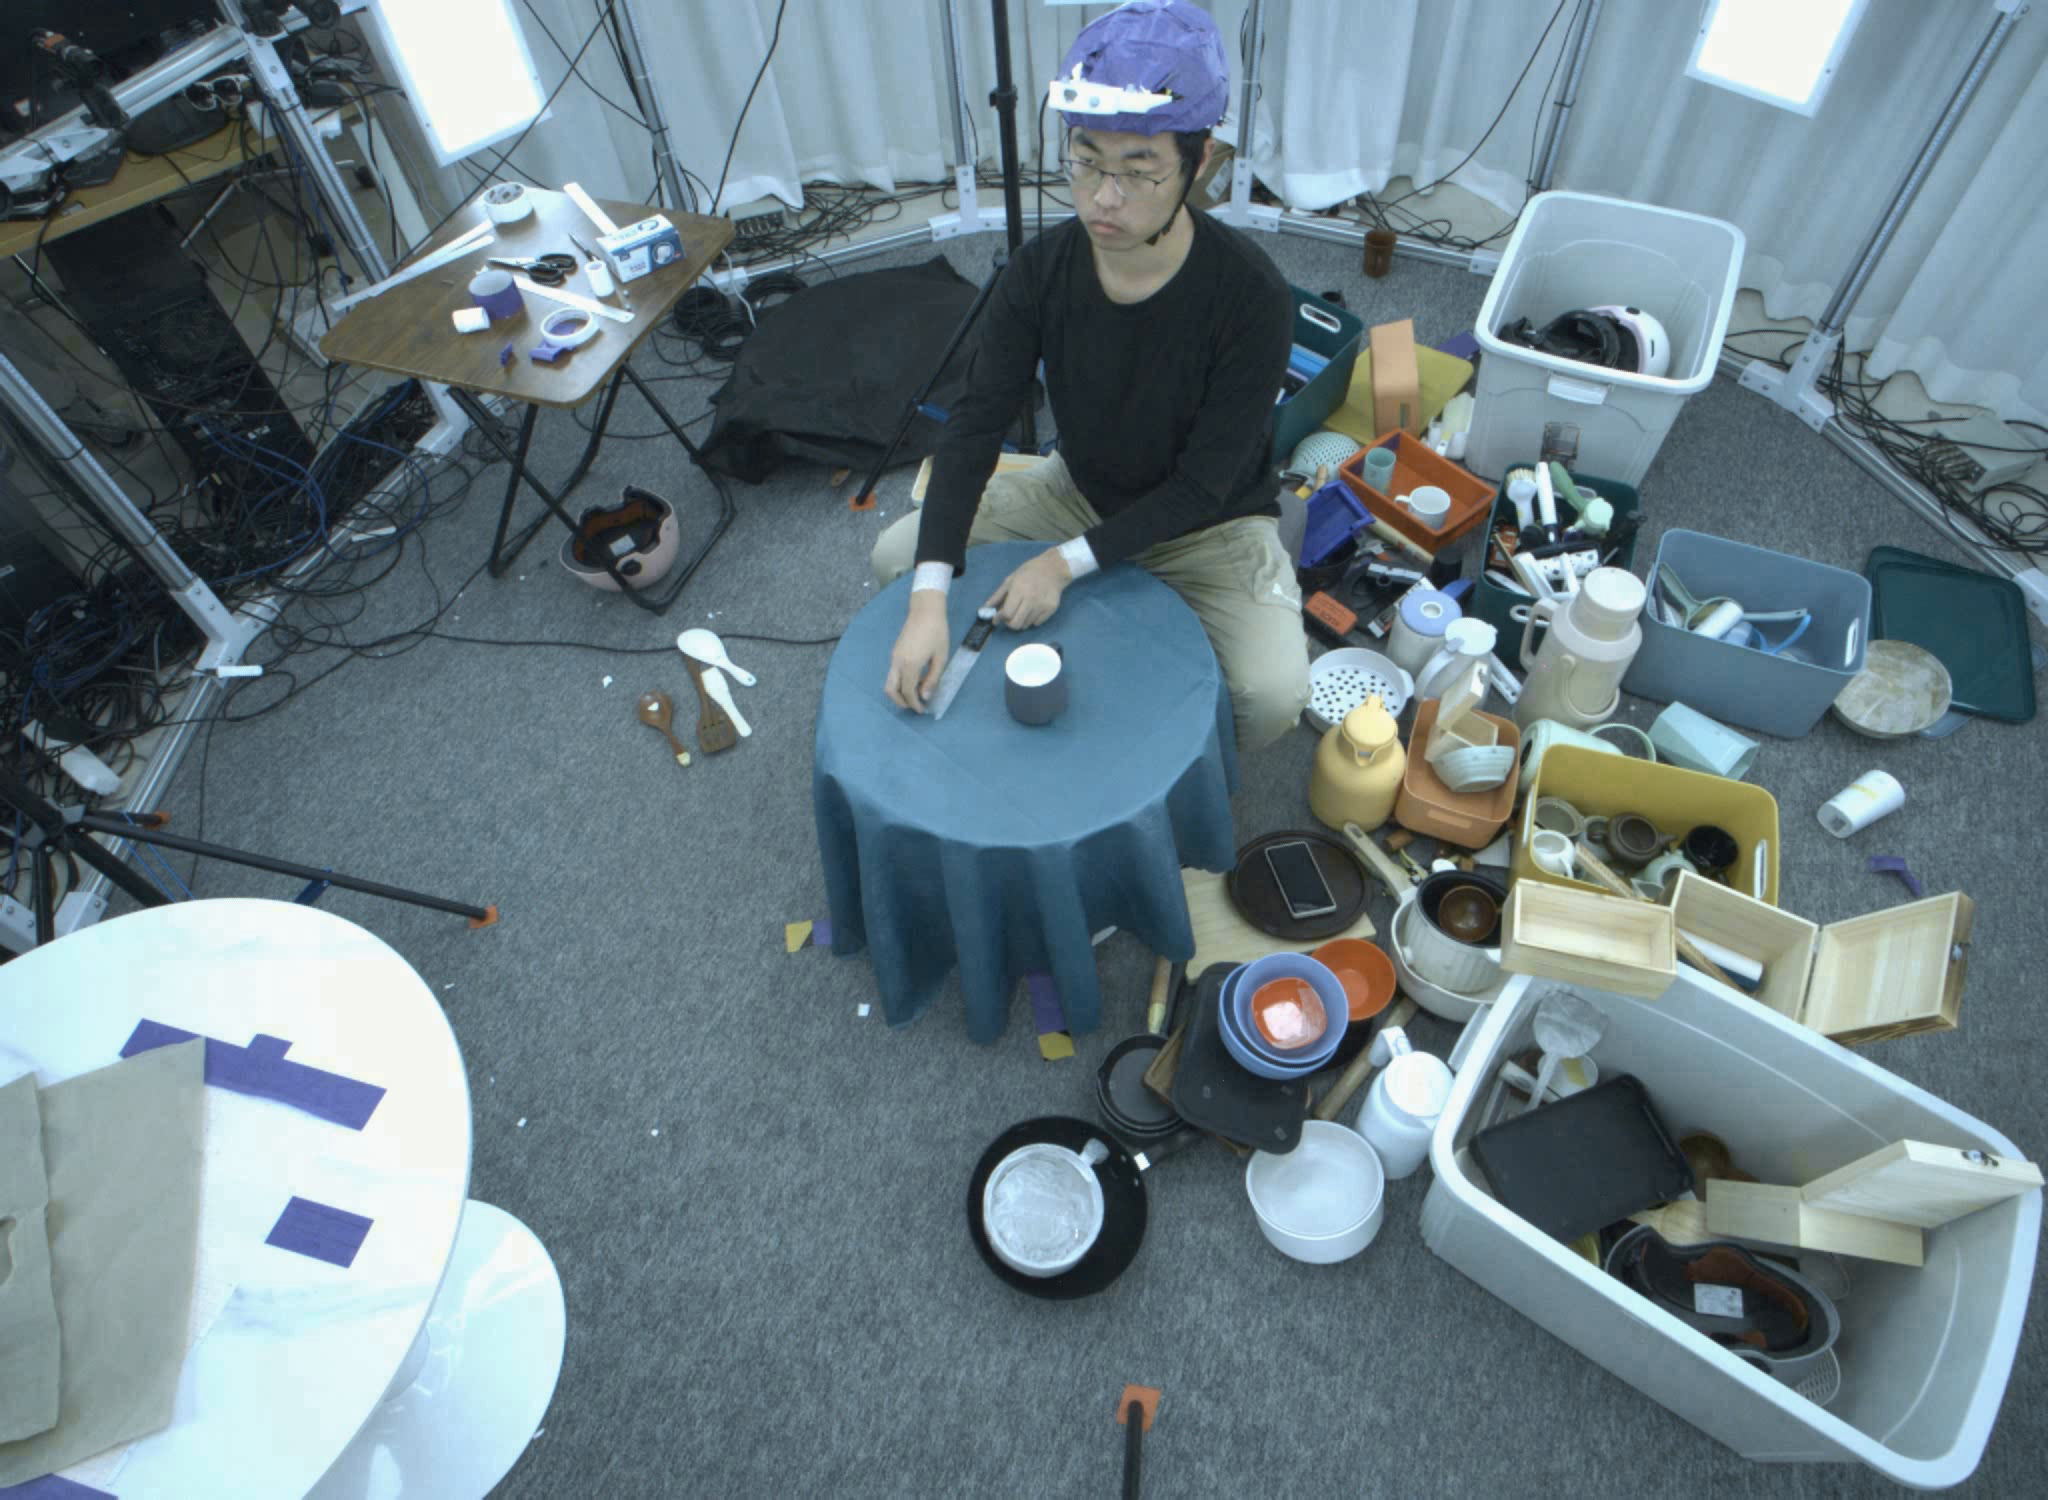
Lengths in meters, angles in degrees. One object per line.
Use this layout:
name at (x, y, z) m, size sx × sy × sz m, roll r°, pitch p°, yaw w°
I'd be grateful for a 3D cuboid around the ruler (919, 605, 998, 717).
ruler at (-0.098, -0.140, 1.877) m, size 0.038 × 0.024 × 0.218 m, roll 17°, pitch 56°, yaw 18°

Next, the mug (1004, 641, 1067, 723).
mug at (0.023, -0.108, 1.806) m, size 0.092 × 0.091 × 0.123 m, roll 24°, pitch 60°, yaw 18°
